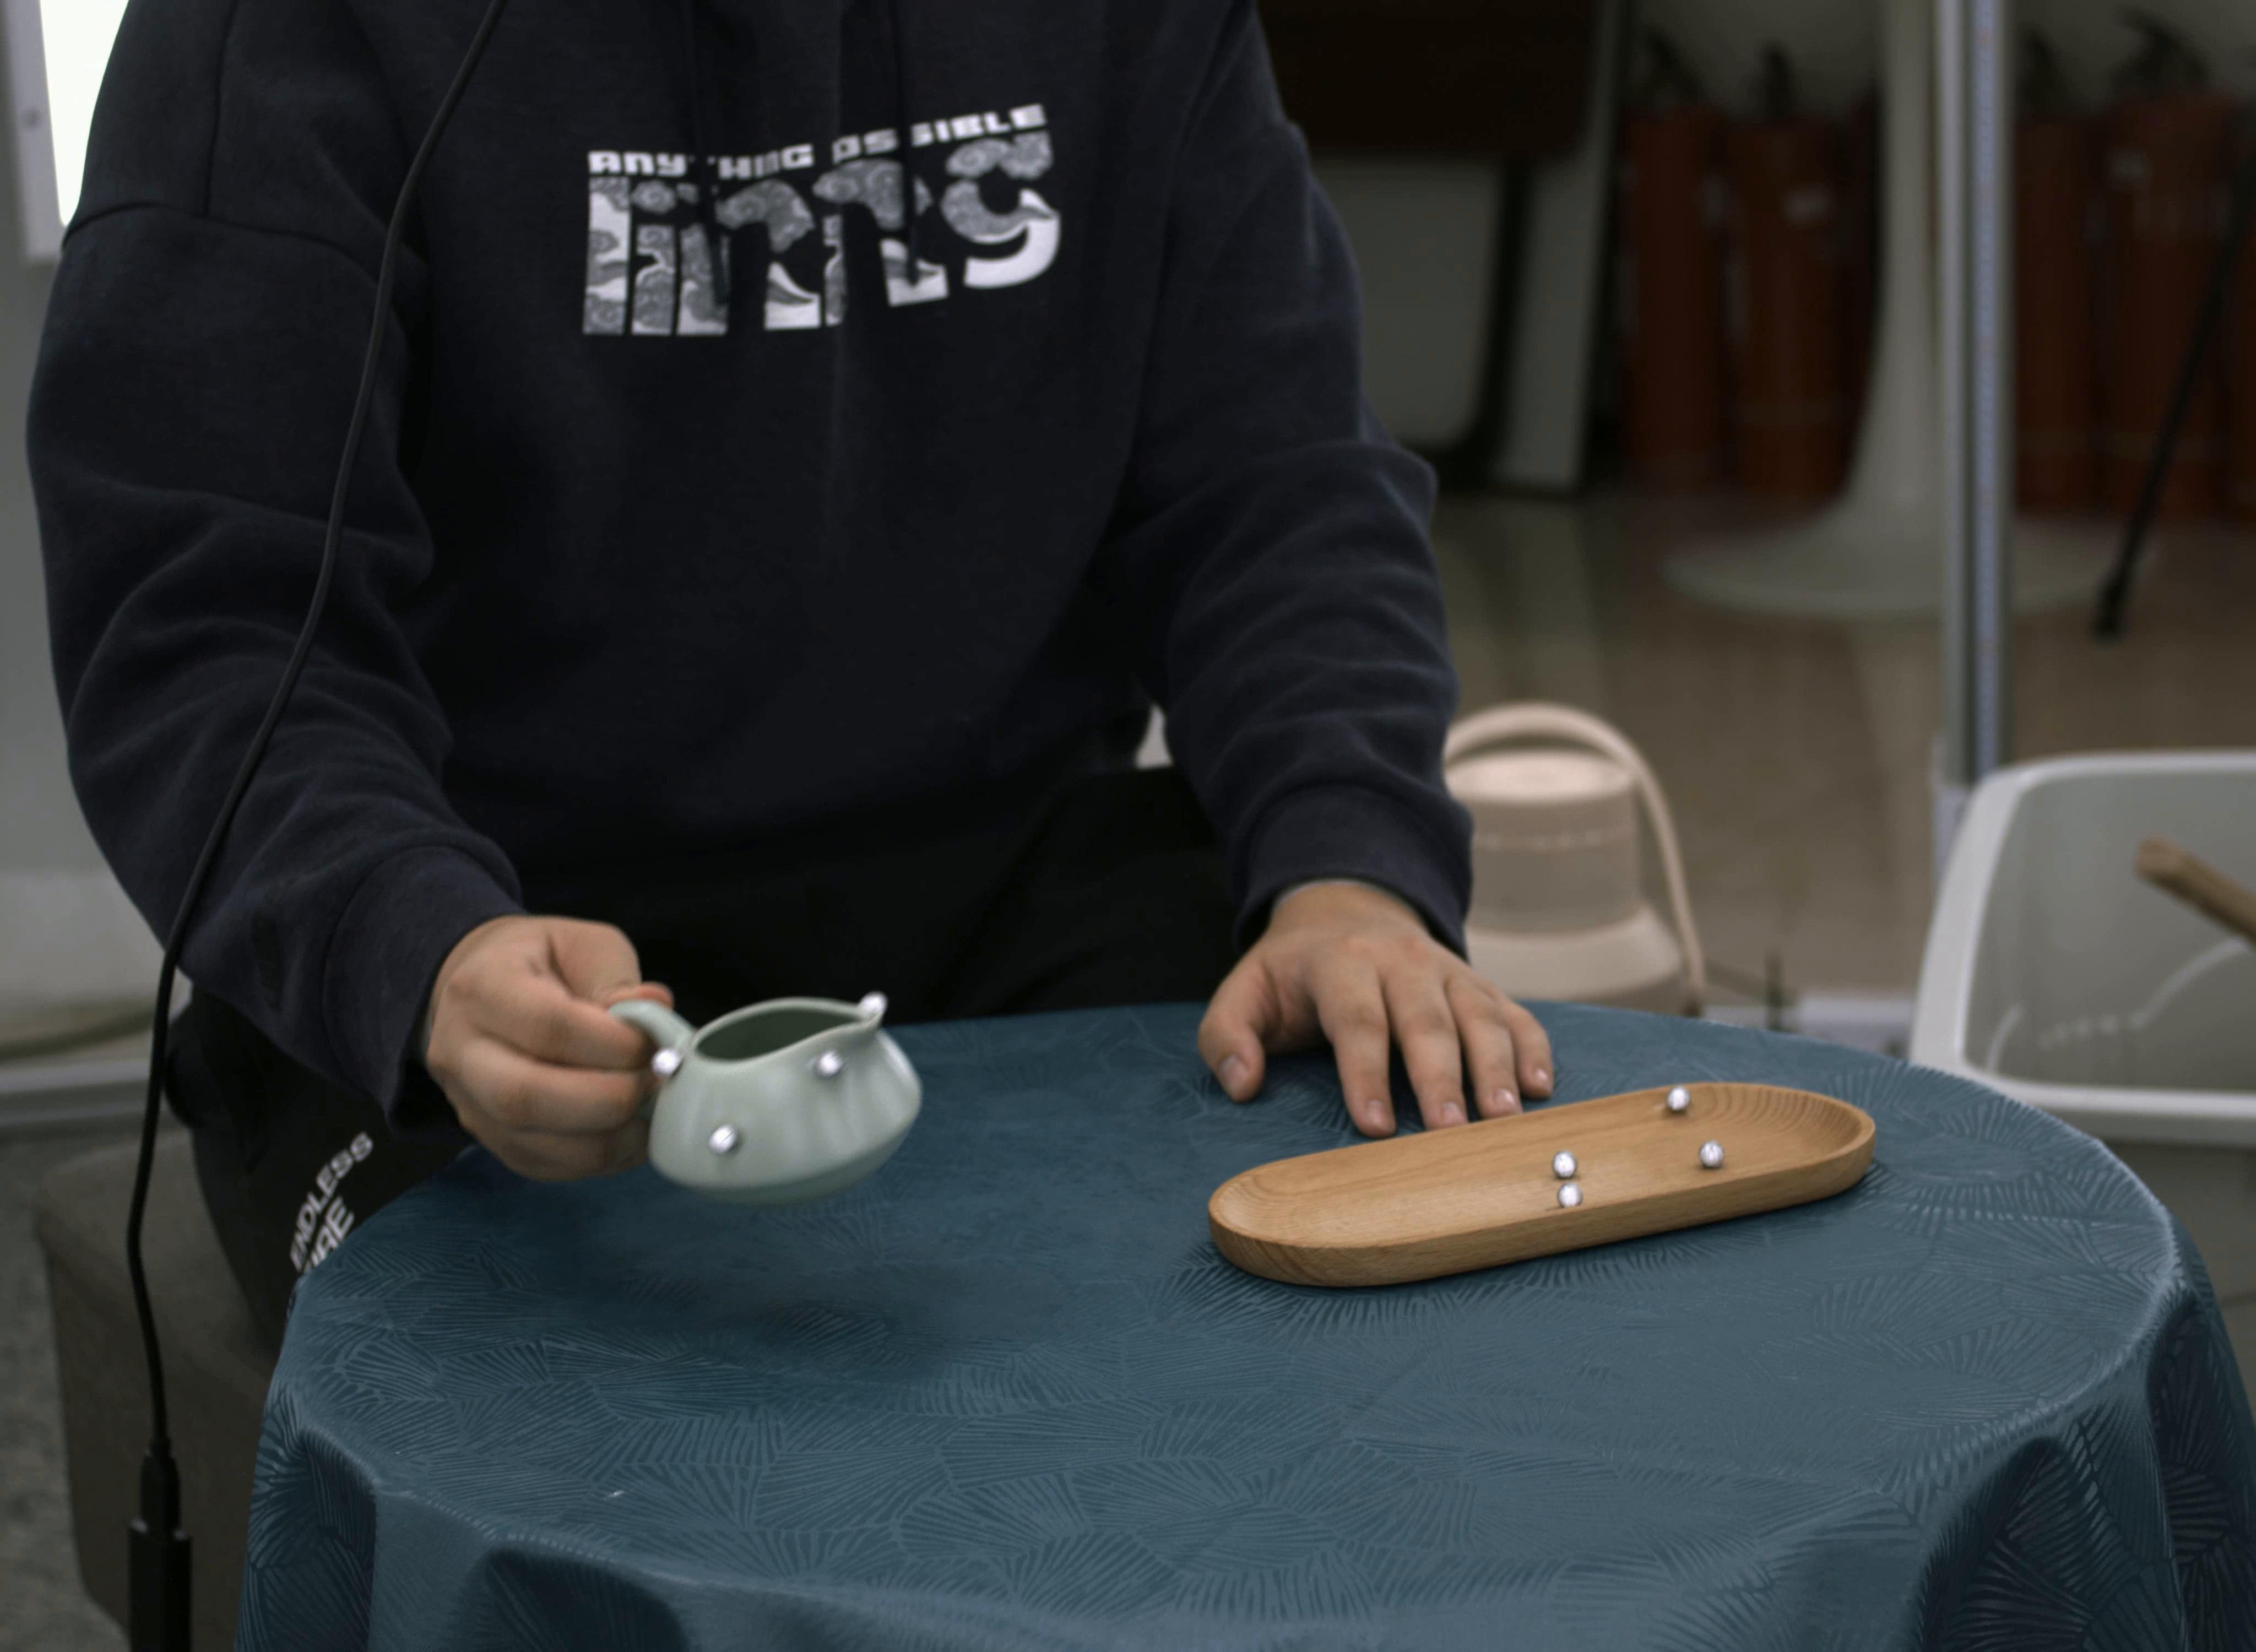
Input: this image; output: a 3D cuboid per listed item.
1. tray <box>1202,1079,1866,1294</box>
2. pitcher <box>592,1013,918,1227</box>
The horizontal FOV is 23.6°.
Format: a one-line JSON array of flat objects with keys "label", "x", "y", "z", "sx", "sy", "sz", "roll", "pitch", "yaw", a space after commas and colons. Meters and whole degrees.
[{"label": "tray", "x": 0.132, "y": 0.115, "z": 1.728, "sx": 0.226, "sy": 0.020, "sz": 0.102, "roll": -12, "pitch": 14, "yaw": -22}, {"label": "pitcher", "x": -0.118, "y": 0.087, "z": 1.663, "sx": 0.108, "sy": 0.061, "sz": 0.085, "roll": -3, "pitch": 20, "yaw": 30}]
